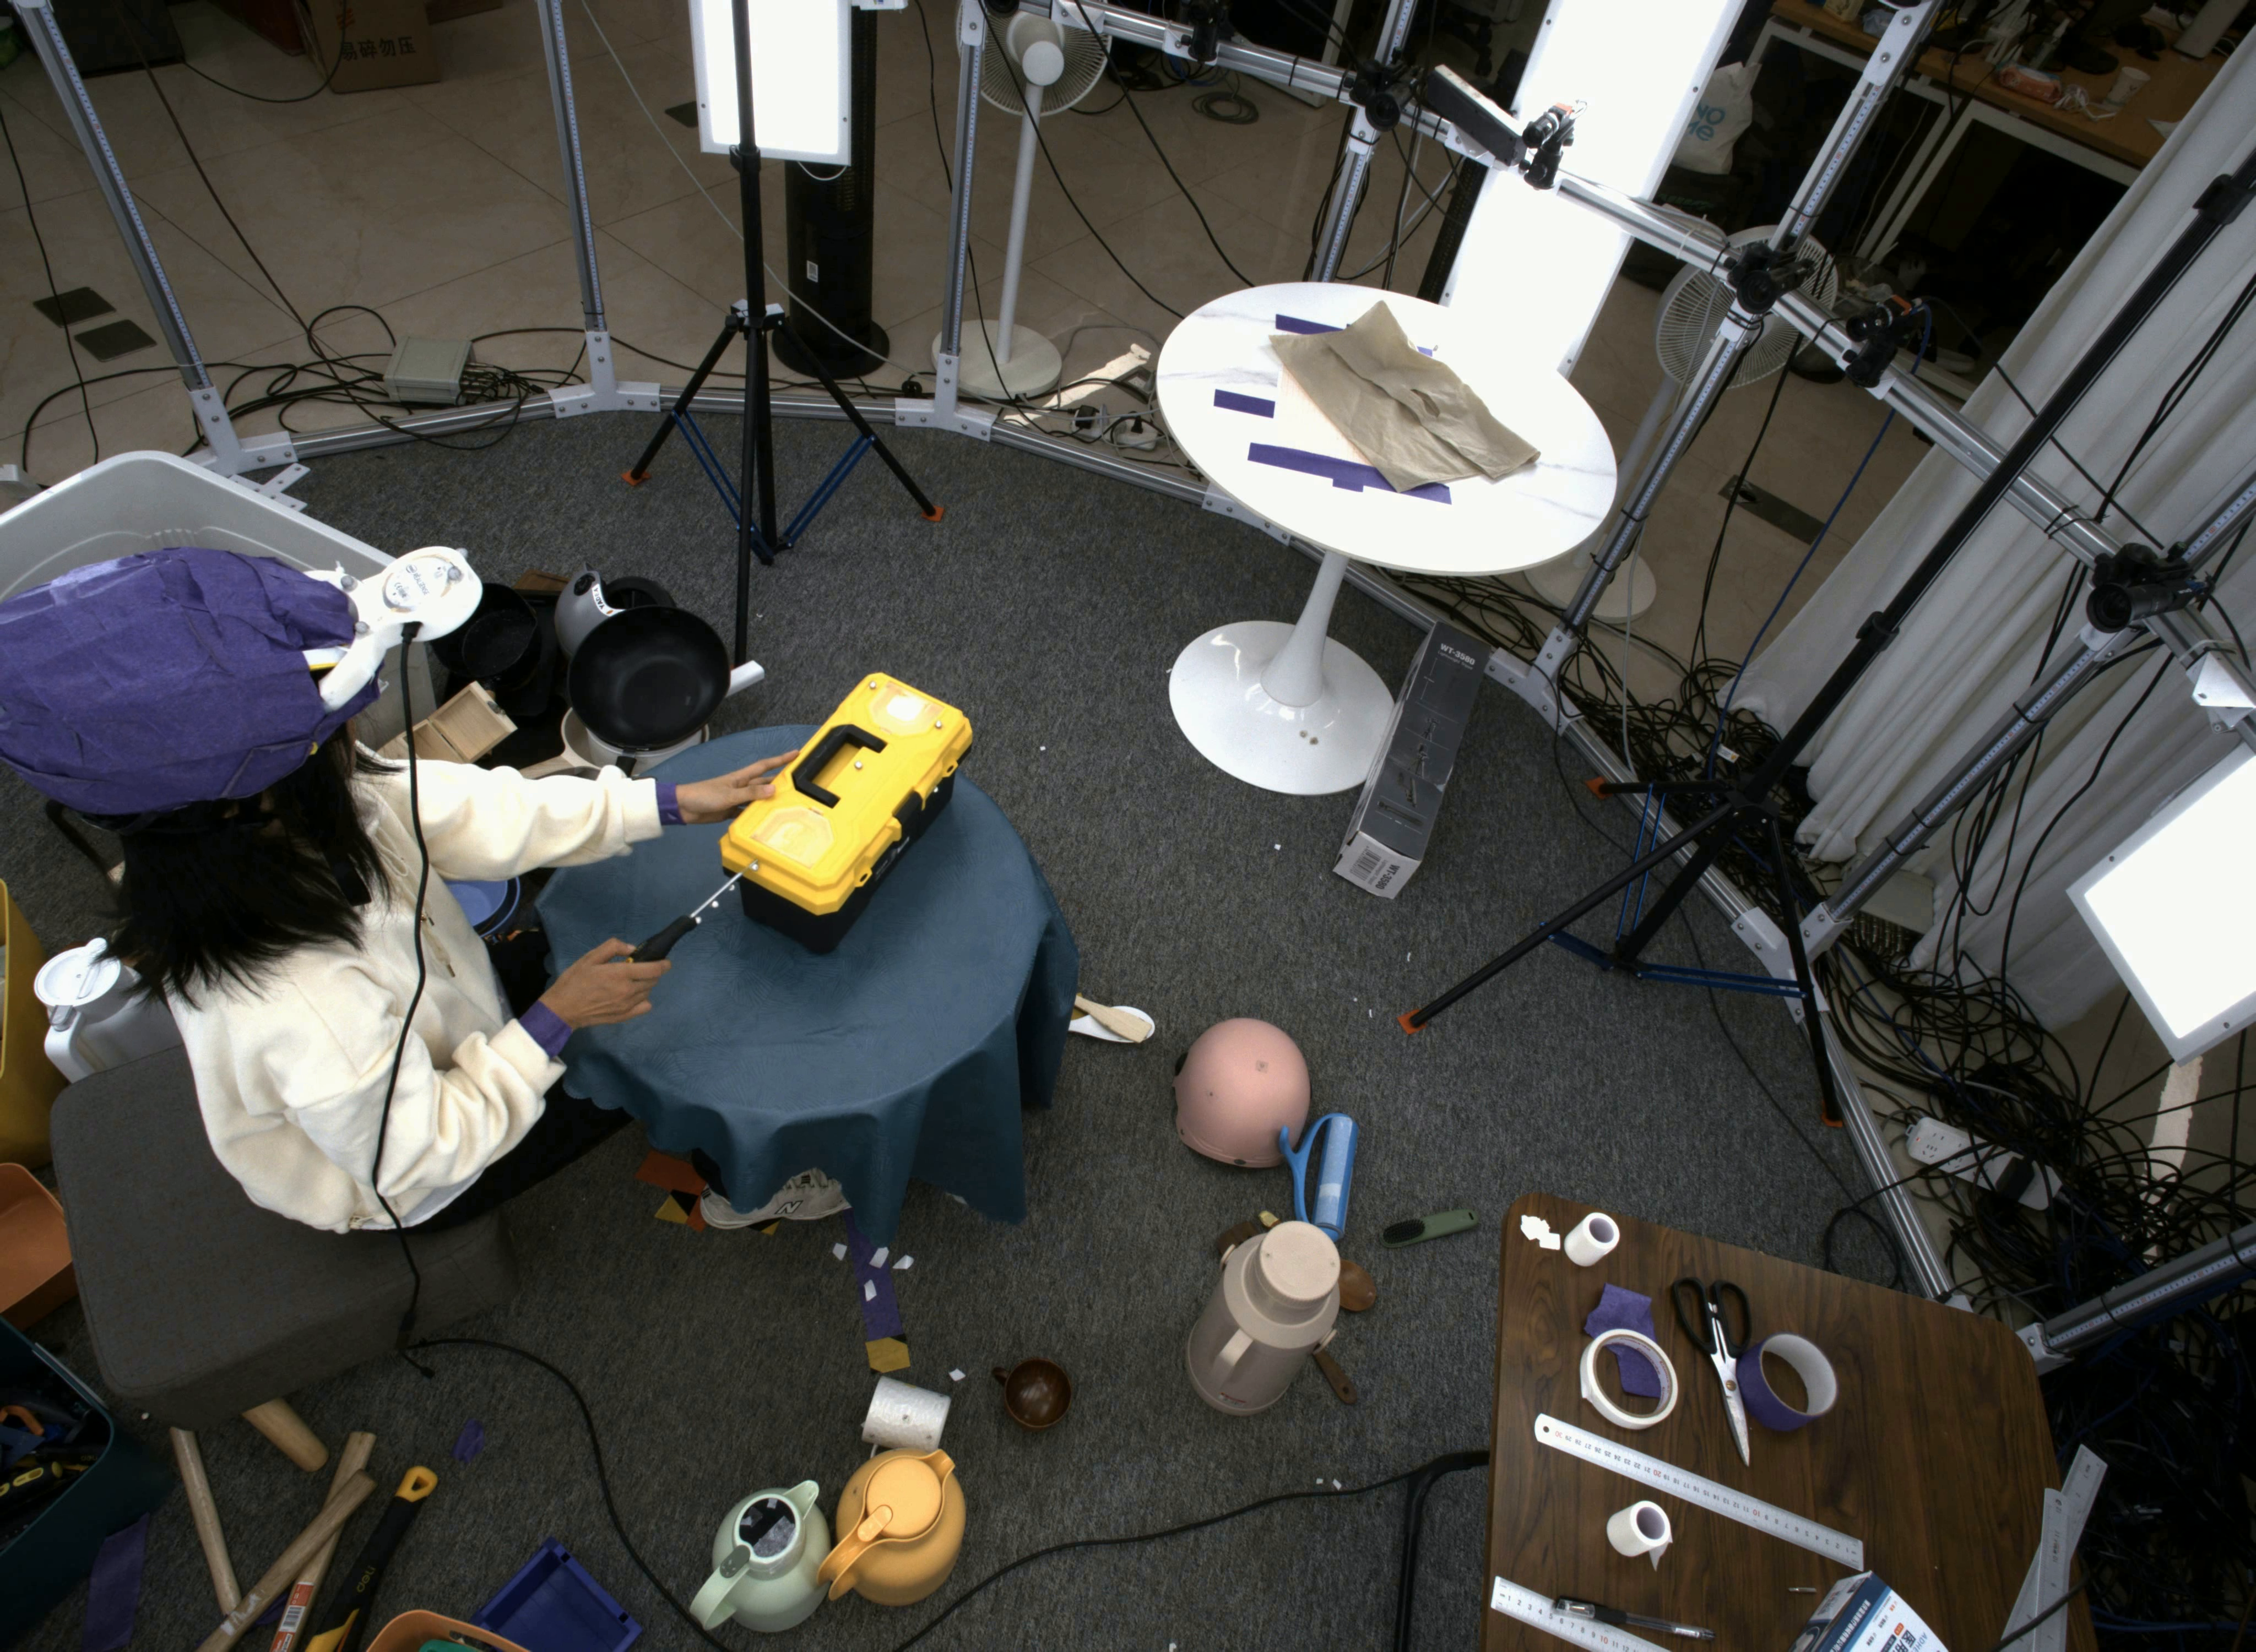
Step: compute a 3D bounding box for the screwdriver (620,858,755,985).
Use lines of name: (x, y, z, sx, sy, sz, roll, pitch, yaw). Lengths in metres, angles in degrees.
screwdriver: (-0.494, 0.101, 1.449, 0.031, 0.032, 0.197, 35, 62, 15)

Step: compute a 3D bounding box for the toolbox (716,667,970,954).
toolbox: (-0.352, -0.021, 1.641, 0.178, 0.176, 0.349, 26, 52, 8)
